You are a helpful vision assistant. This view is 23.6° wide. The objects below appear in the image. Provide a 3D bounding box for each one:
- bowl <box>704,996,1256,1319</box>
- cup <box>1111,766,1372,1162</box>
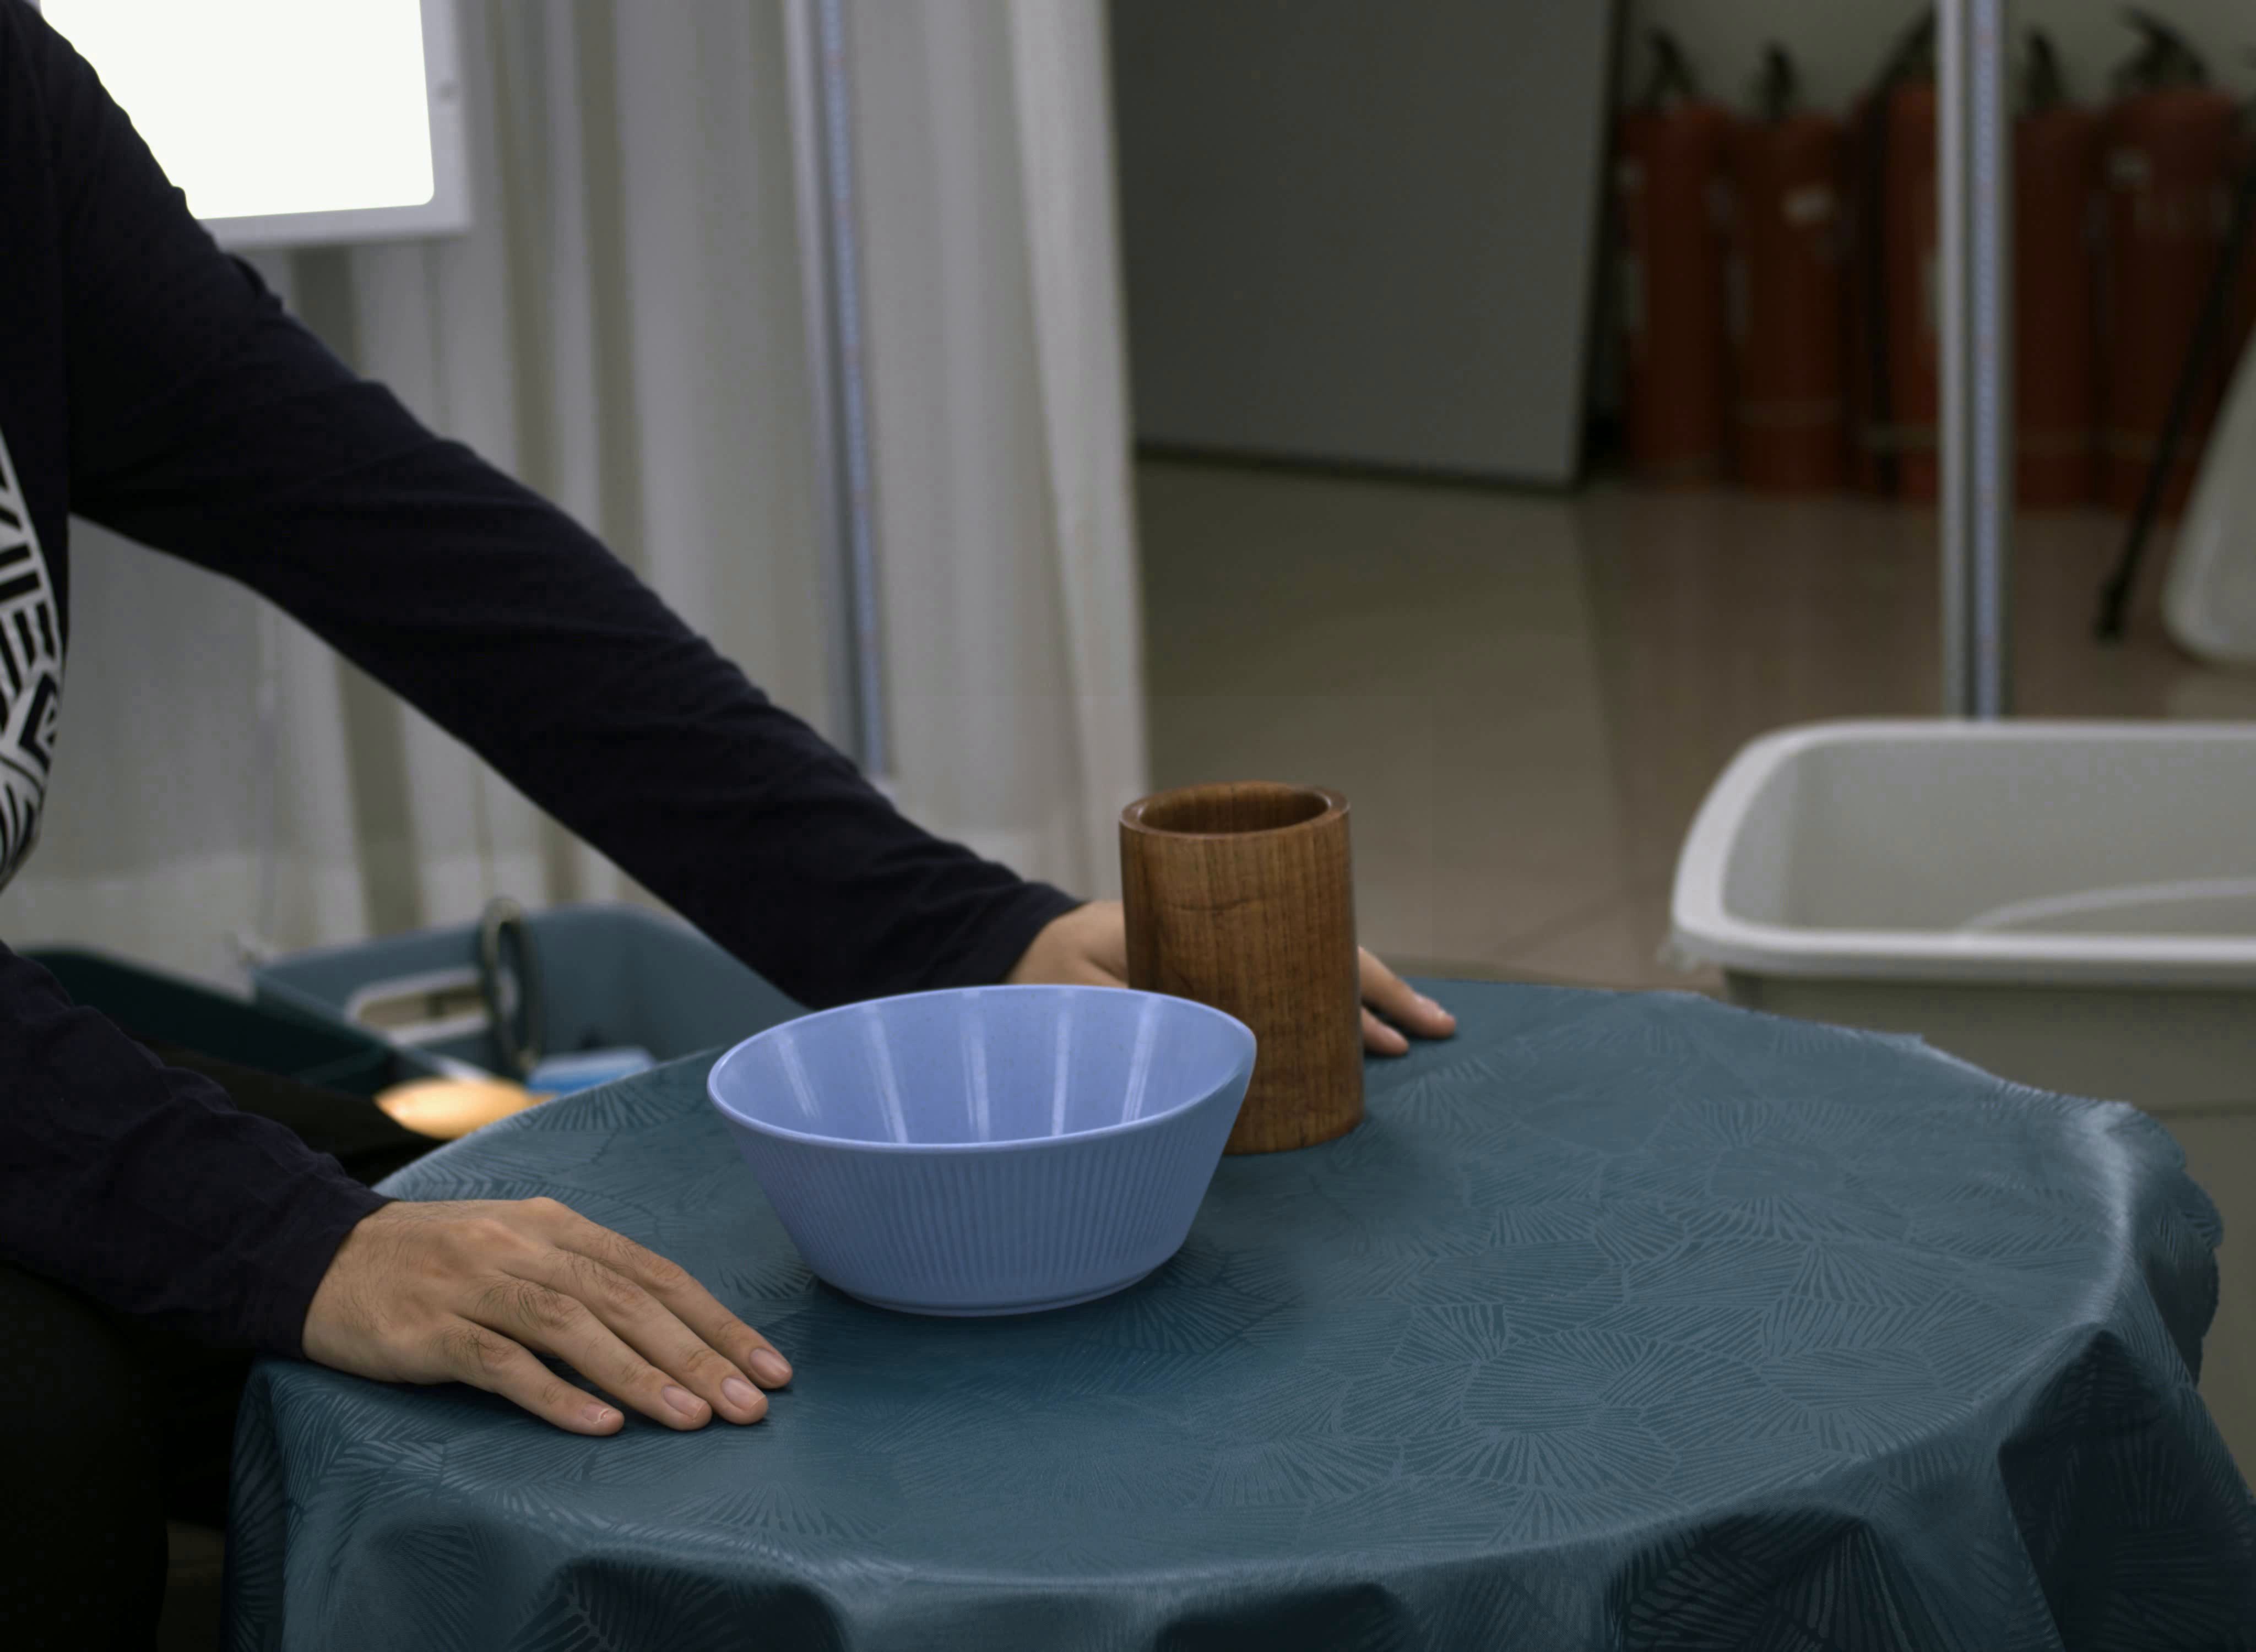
[{"bbox_3d":[-0.044,0.106,1.703,0.174,0.071,0.176,-4,13,0],"label":"bowl"},{"bbox_3d":[0.039,0.046,1.826,0.086,0.120,0.088,-5,11,0],"label":"cup"}]
